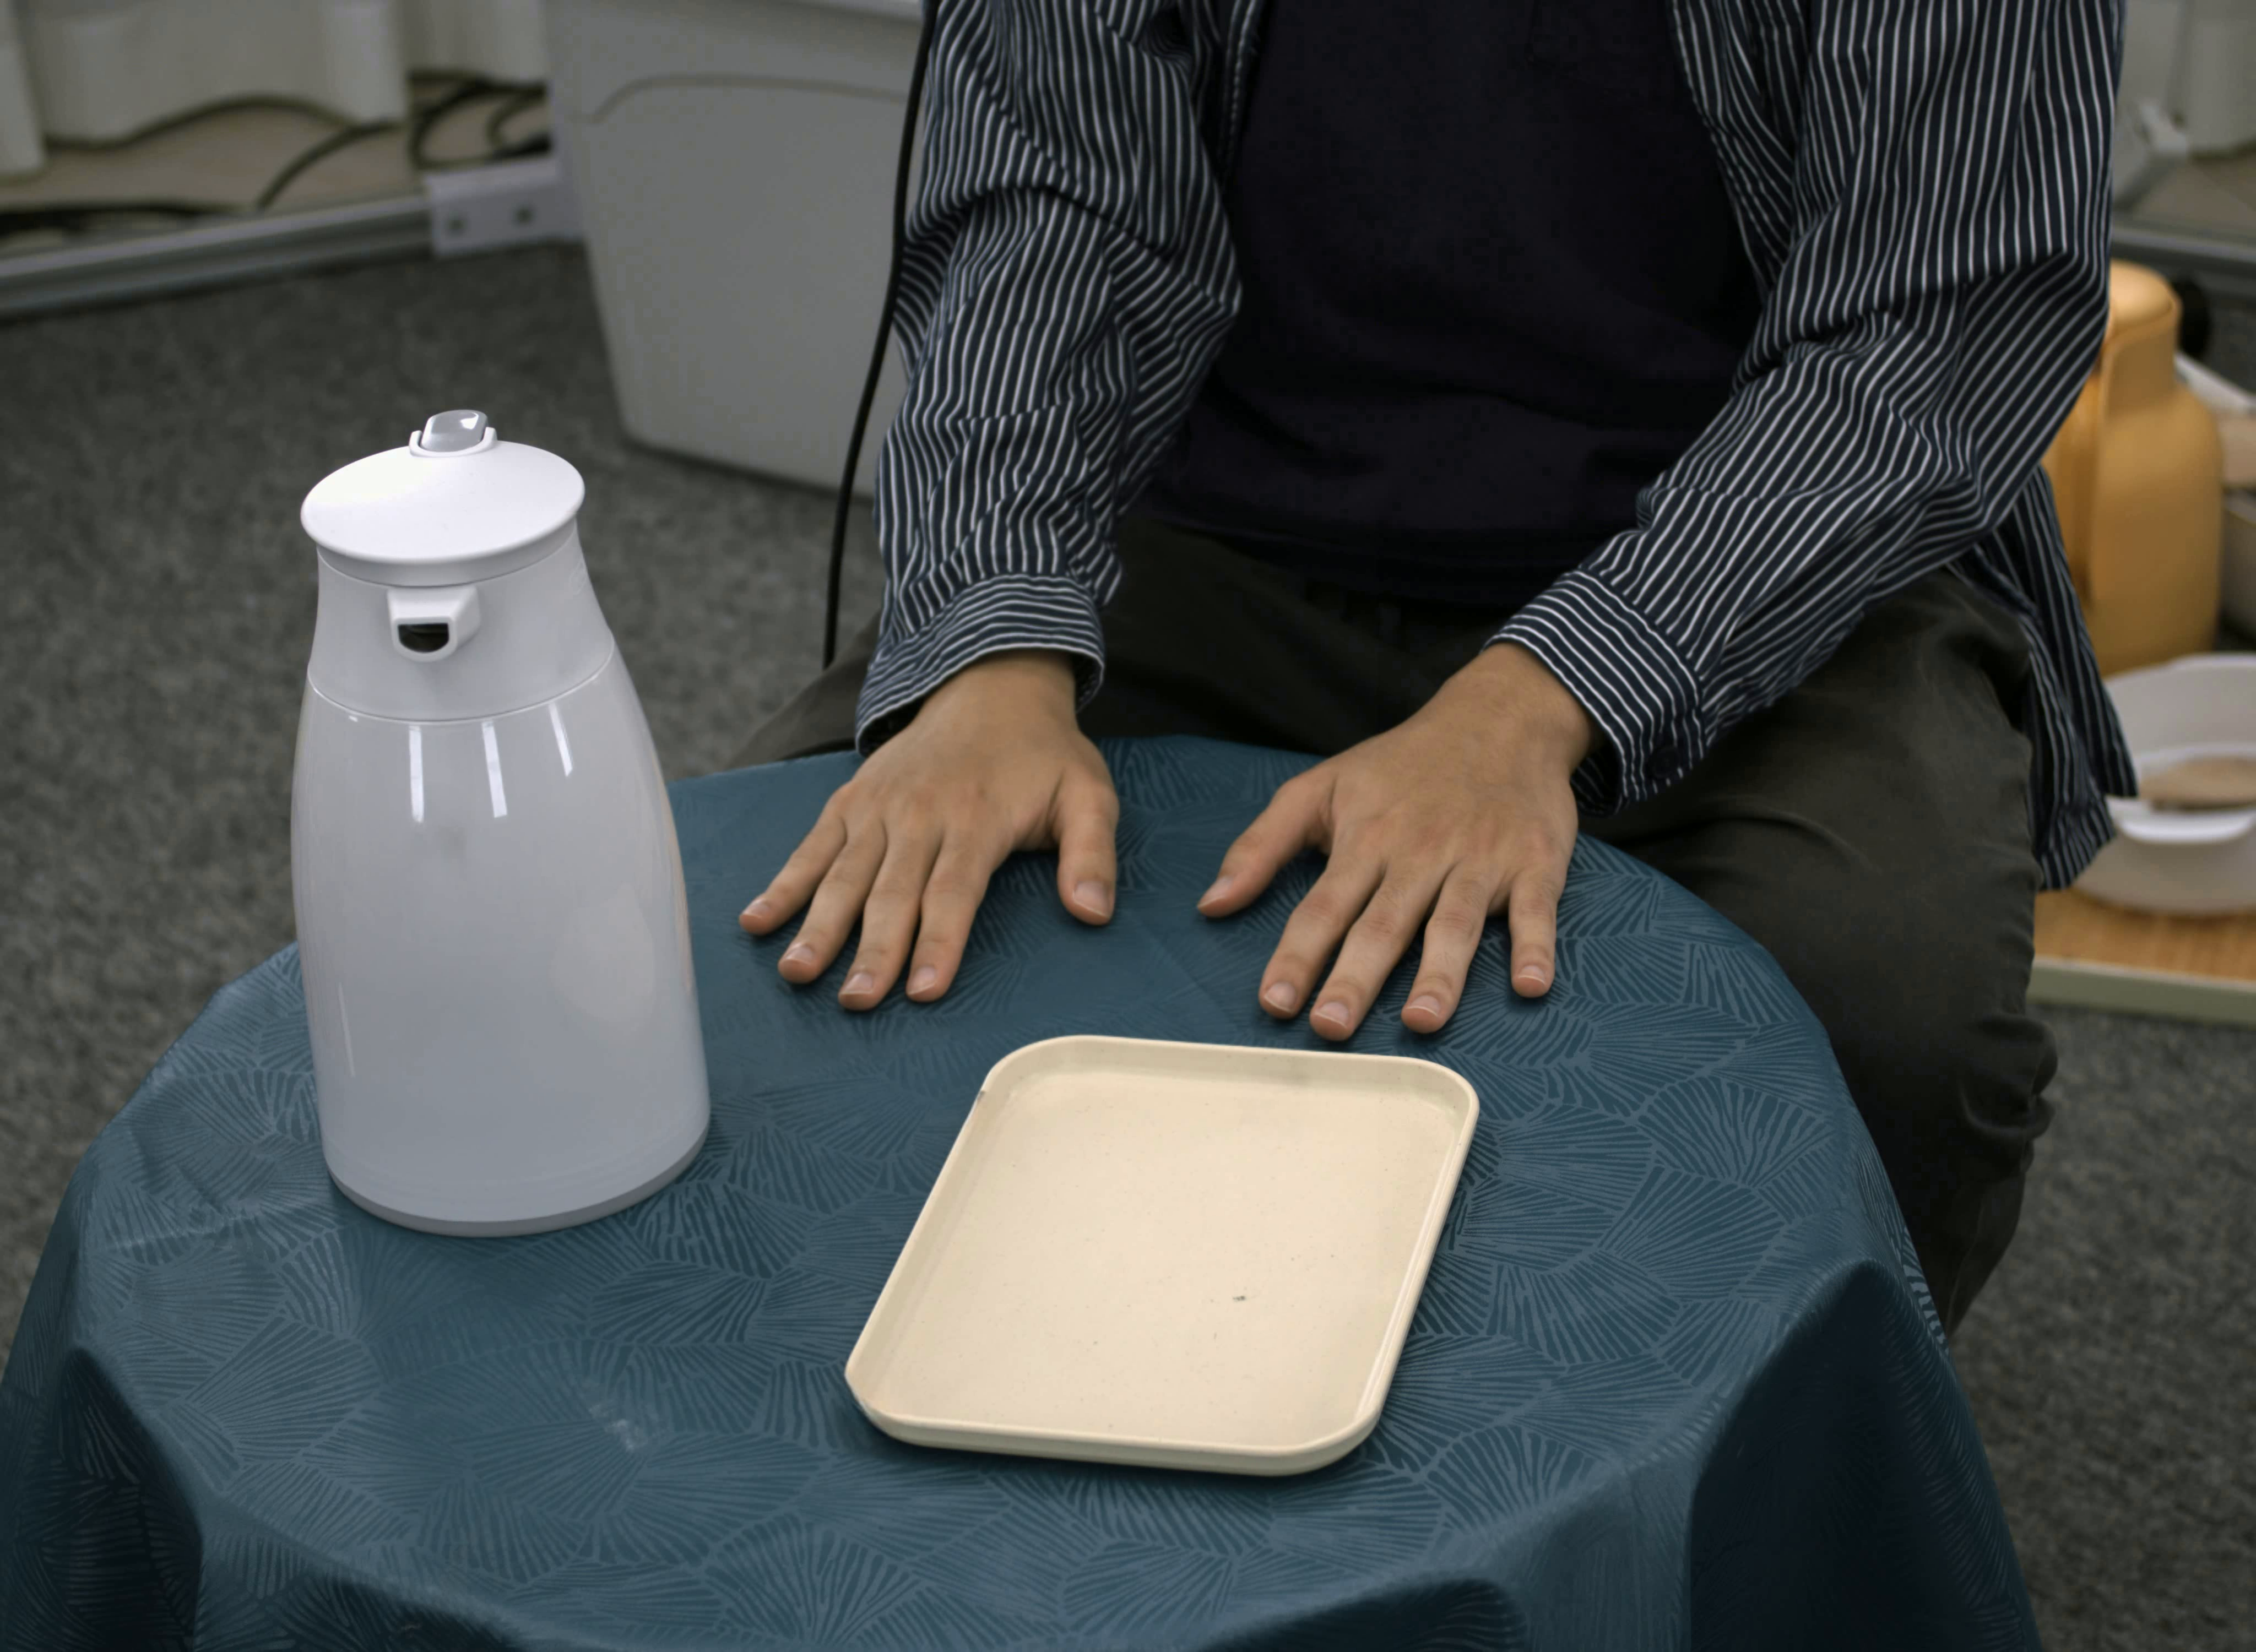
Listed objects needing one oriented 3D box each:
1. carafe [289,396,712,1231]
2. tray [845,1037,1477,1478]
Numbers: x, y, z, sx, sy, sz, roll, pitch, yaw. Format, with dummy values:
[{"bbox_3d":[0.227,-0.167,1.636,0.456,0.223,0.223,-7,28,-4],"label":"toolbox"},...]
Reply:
[{"bbox_3d":[-0.216,-0.014,1.870,0.132,0.246,0.170,-5,25,-2],"label":"carafe"},{"bbox_3d":[0.014,0.137,1.805,0.170,0.017,0.244,4,28,12],"label":"tray"}]
